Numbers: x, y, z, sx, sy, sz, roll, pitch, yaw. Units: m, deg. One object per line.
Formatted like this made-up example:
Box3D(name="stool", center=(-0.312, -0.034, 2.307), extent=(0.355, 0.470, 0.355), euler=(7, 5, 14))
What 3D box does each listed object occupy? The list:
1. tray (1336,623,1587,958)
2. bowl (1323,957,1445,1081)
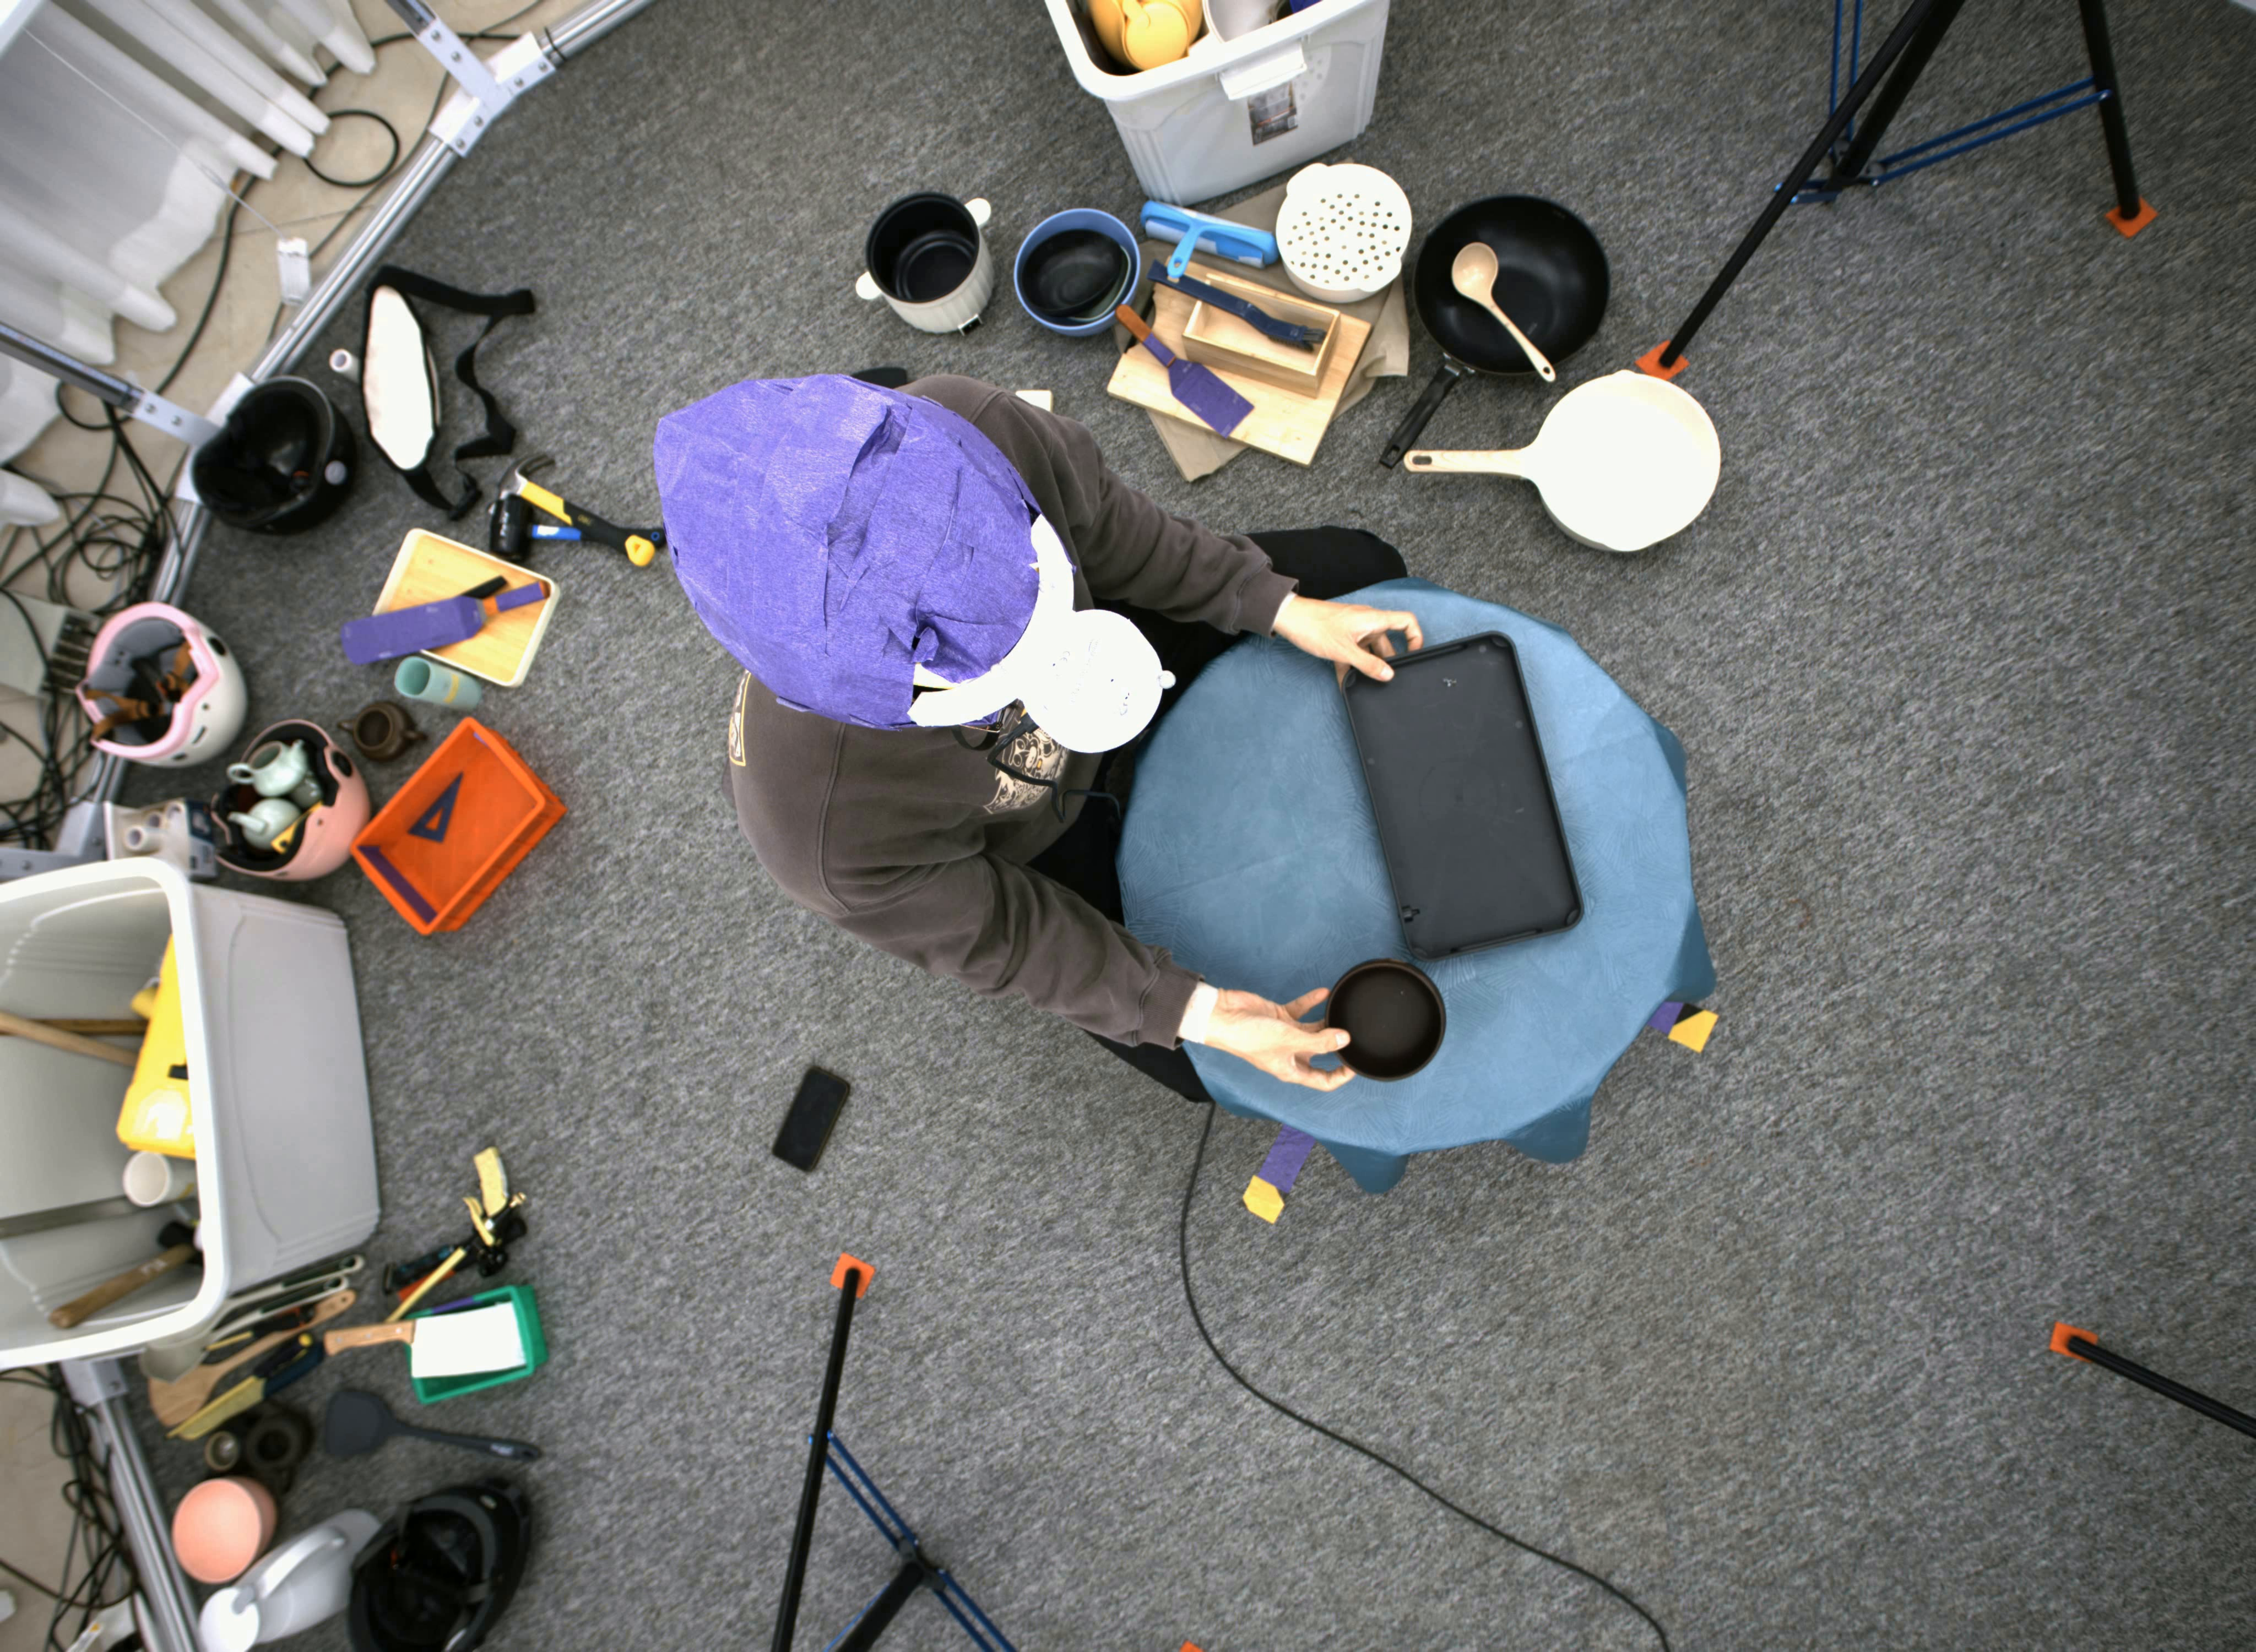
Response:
Box3D(name="tray", center=(0.343, -0.038, 1.422), extent=(0.185, 0.037, 0.317), euler=(-16, 88, 10))
Box3D(name="bowl", center=(0.253, 0.185, 1.360), extent=(0.118, 0.069, 0.118), euler=(1, 94, 16))
